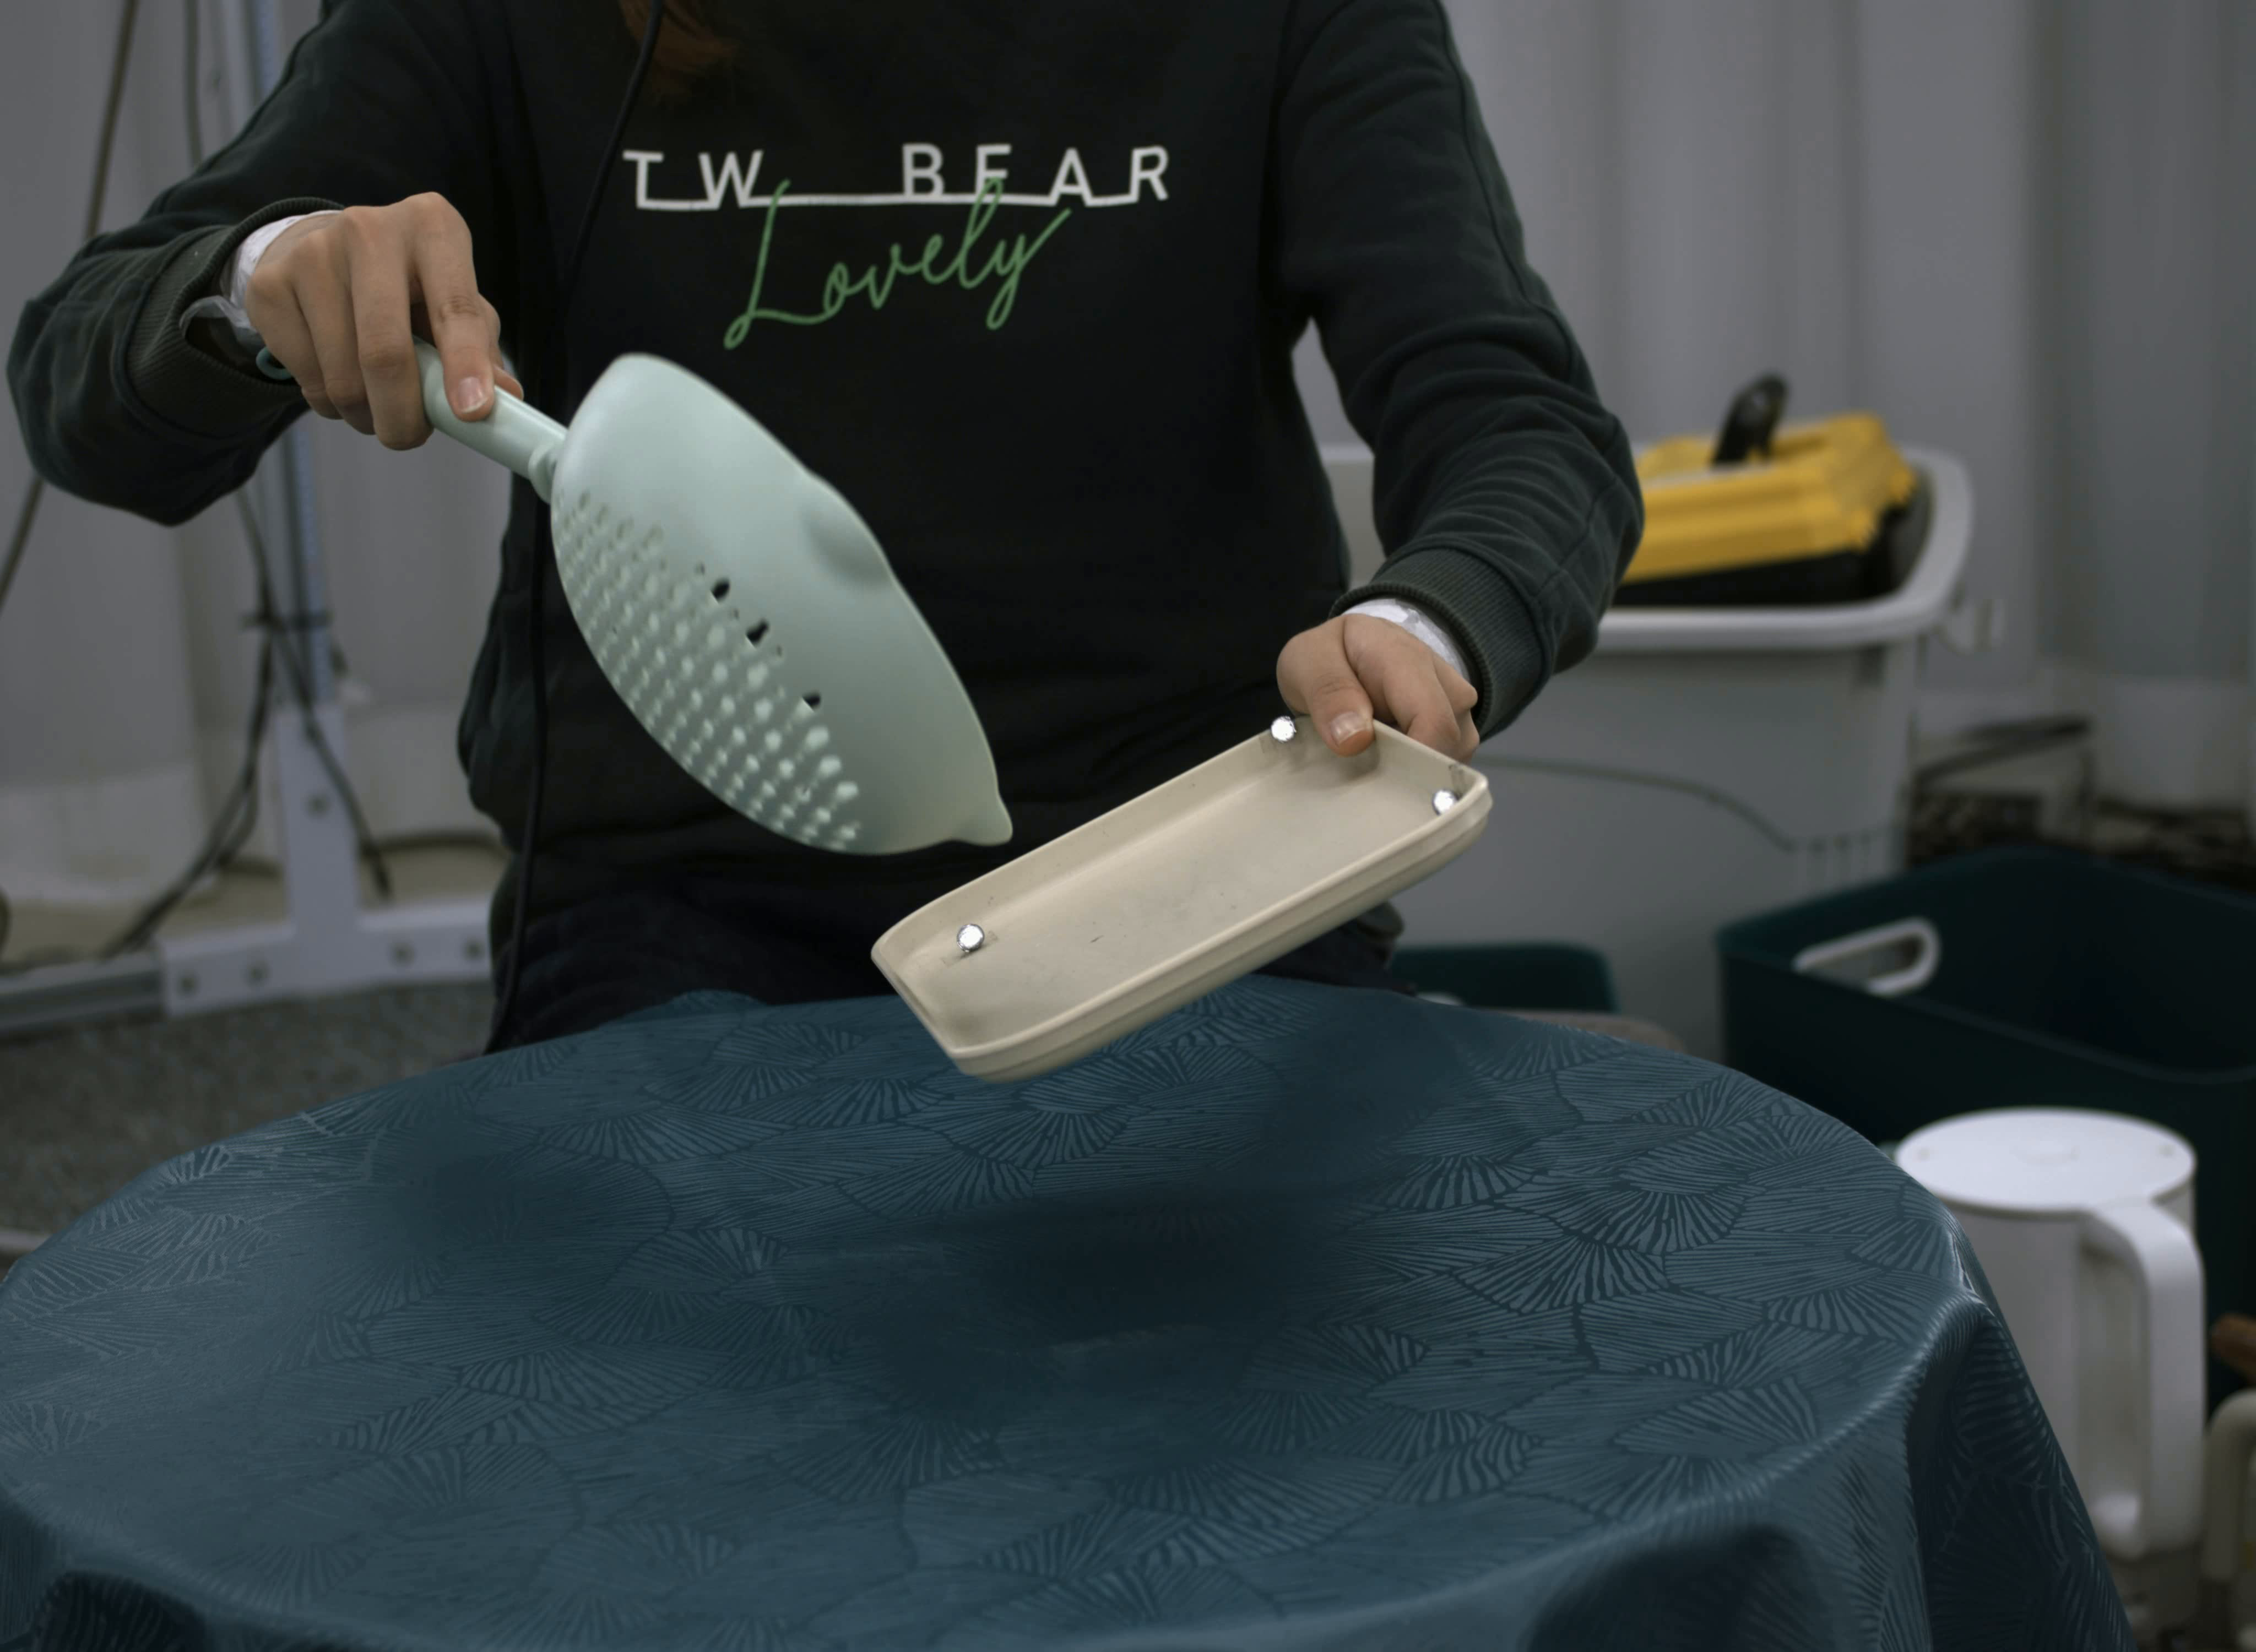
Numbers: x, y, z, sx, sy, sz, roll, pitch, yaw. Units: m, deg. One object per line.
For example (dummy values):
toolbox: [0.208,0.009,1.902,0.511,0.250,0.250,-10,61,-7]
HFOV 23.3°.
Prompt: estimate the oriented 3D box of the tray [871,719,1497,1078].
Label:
tray: [0.014,0.020,1.608,0.171,0.017,0.240,-27,10,-6]

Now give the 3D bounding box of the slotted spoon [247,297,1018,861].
slotted spoon: [-0.162,-0.096,1.644,0.075,0.167,0.363,-34,42,-12]
